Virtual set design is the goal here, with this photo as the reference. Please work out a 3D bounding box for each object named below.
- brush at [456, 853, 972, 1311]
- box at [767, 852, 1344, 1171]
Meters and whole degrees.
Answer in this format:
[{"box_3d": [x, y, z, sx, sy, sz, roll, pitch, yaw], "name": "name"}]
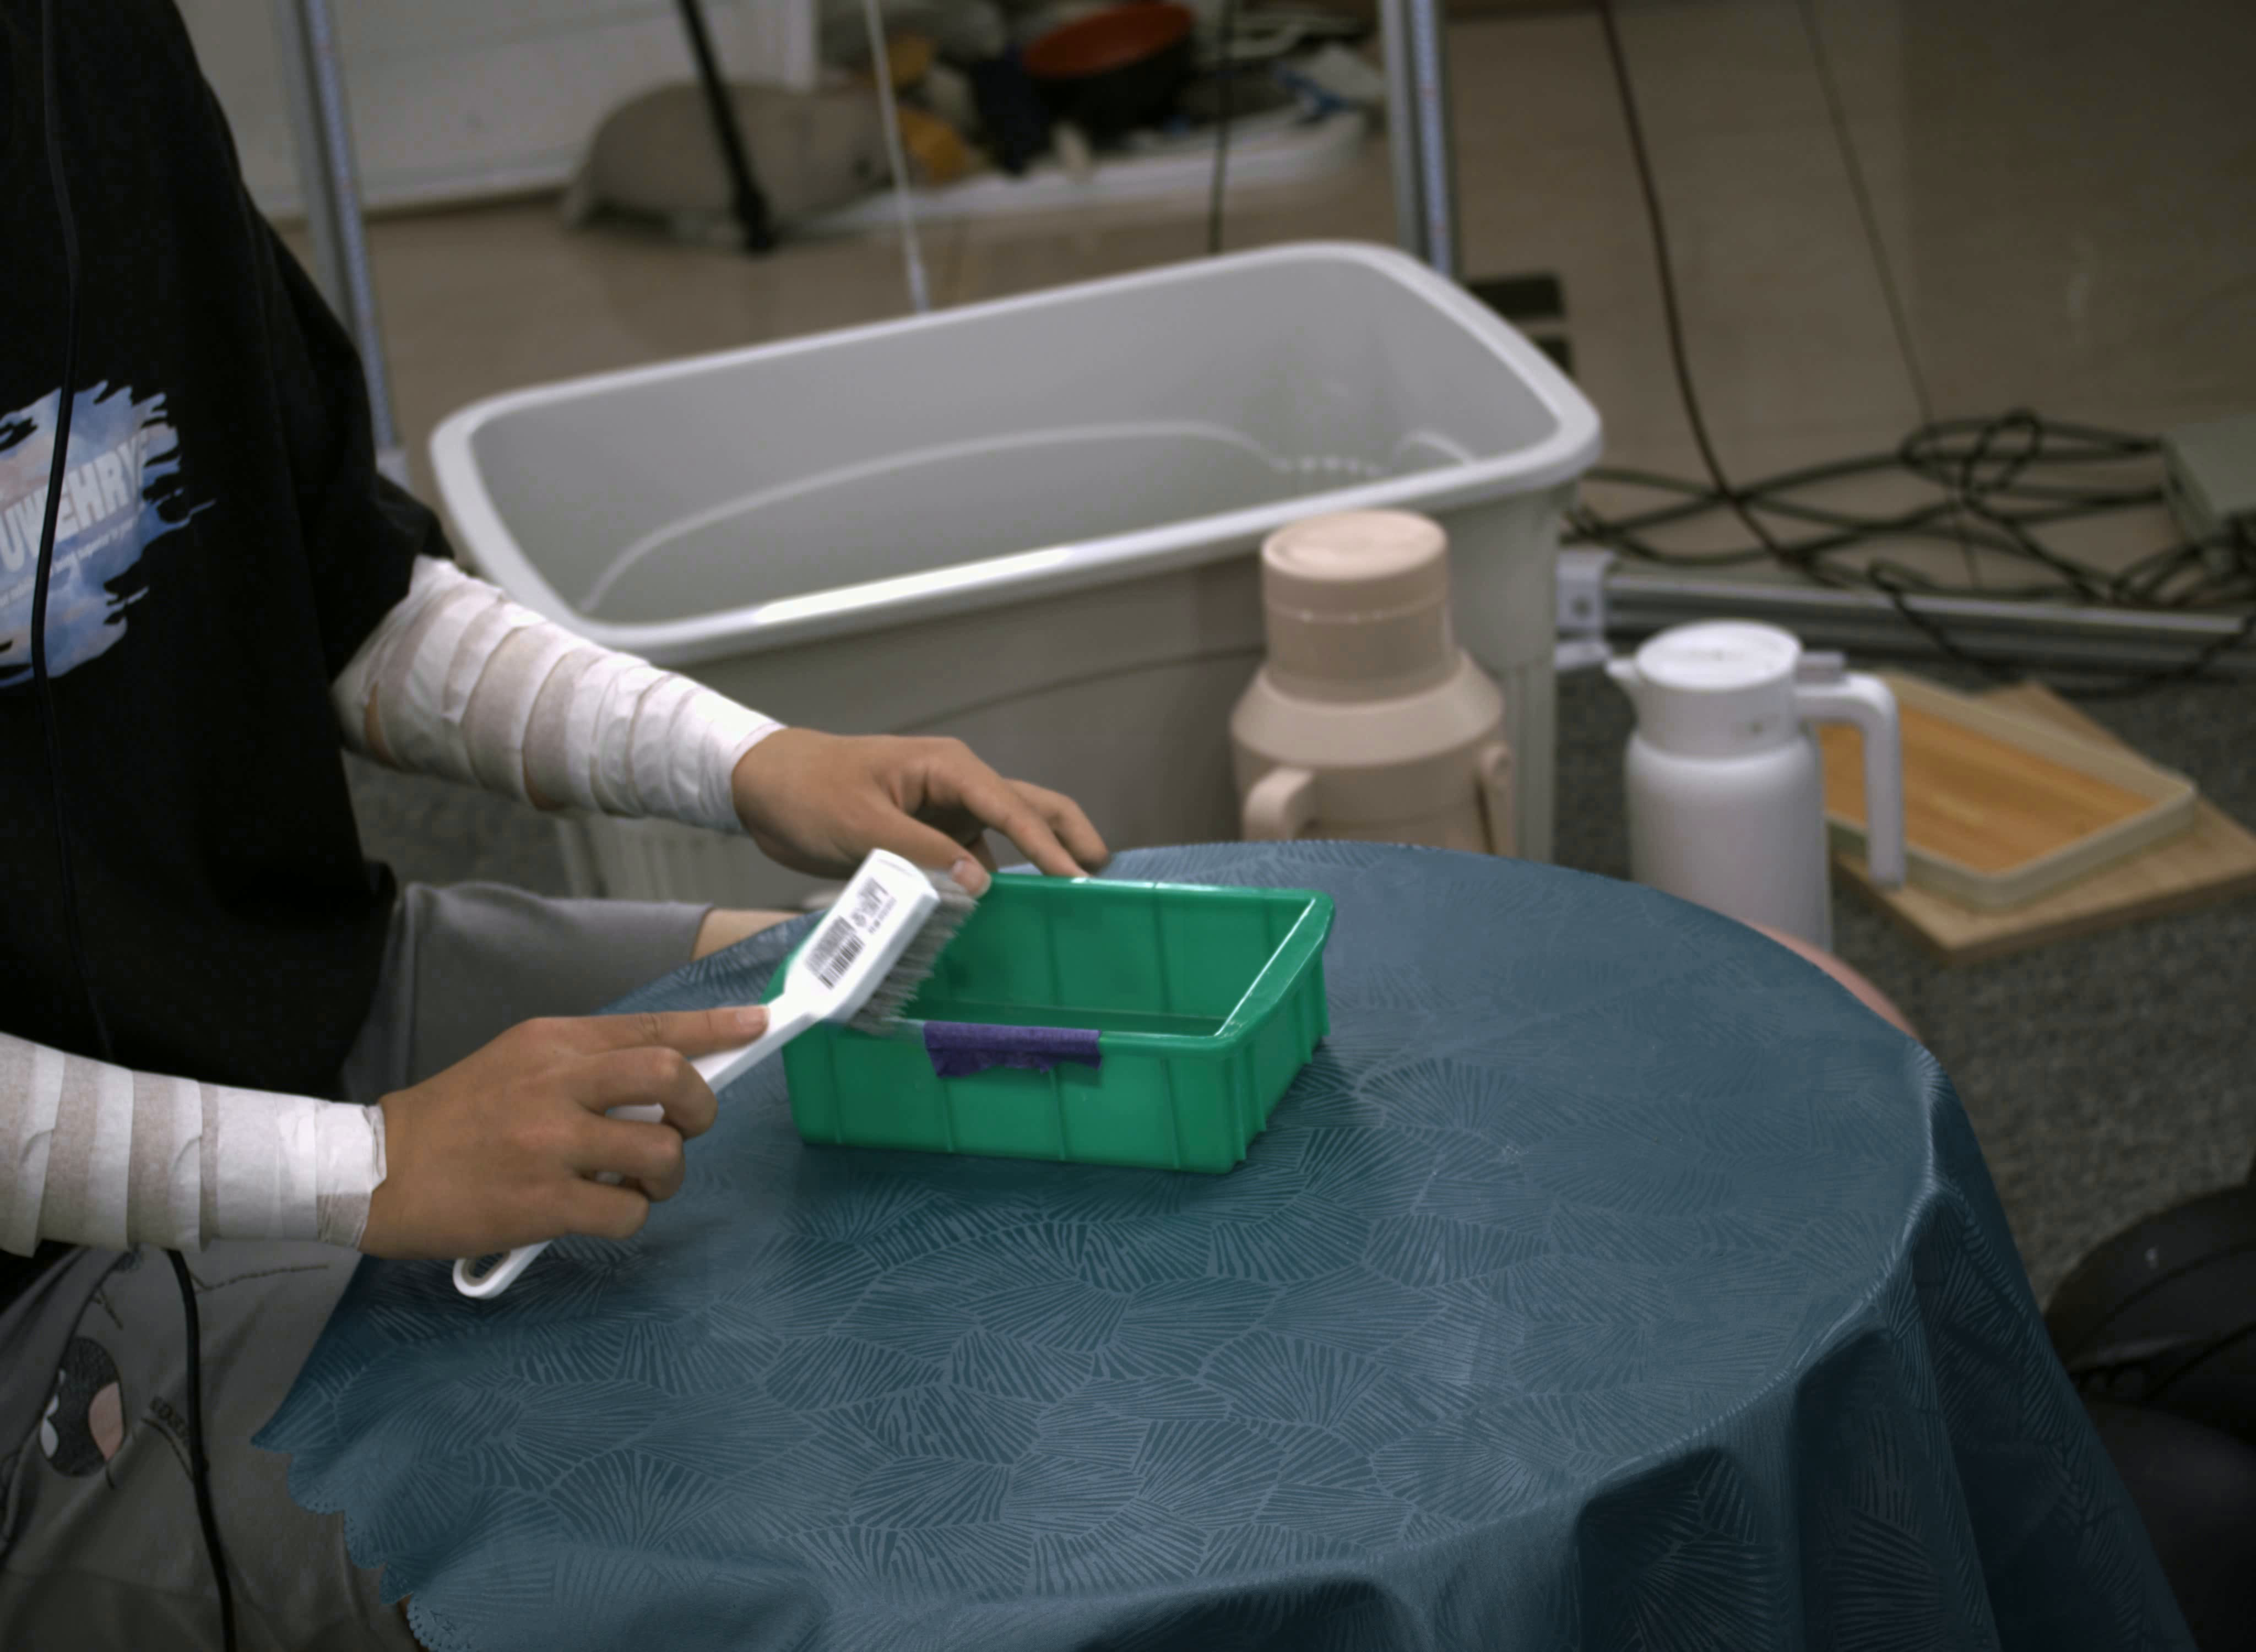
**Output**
[{"box_3d": [-0.155, 0.102, 2.138, 0.243, 0.051, 0.034, -44, 57, -8], "name": "brush"}, {"box_3d": [-0.024, 0.073, 2.218, 0.210, 0.066, 0.136, 4, 31, 19], "name": "box"}]
